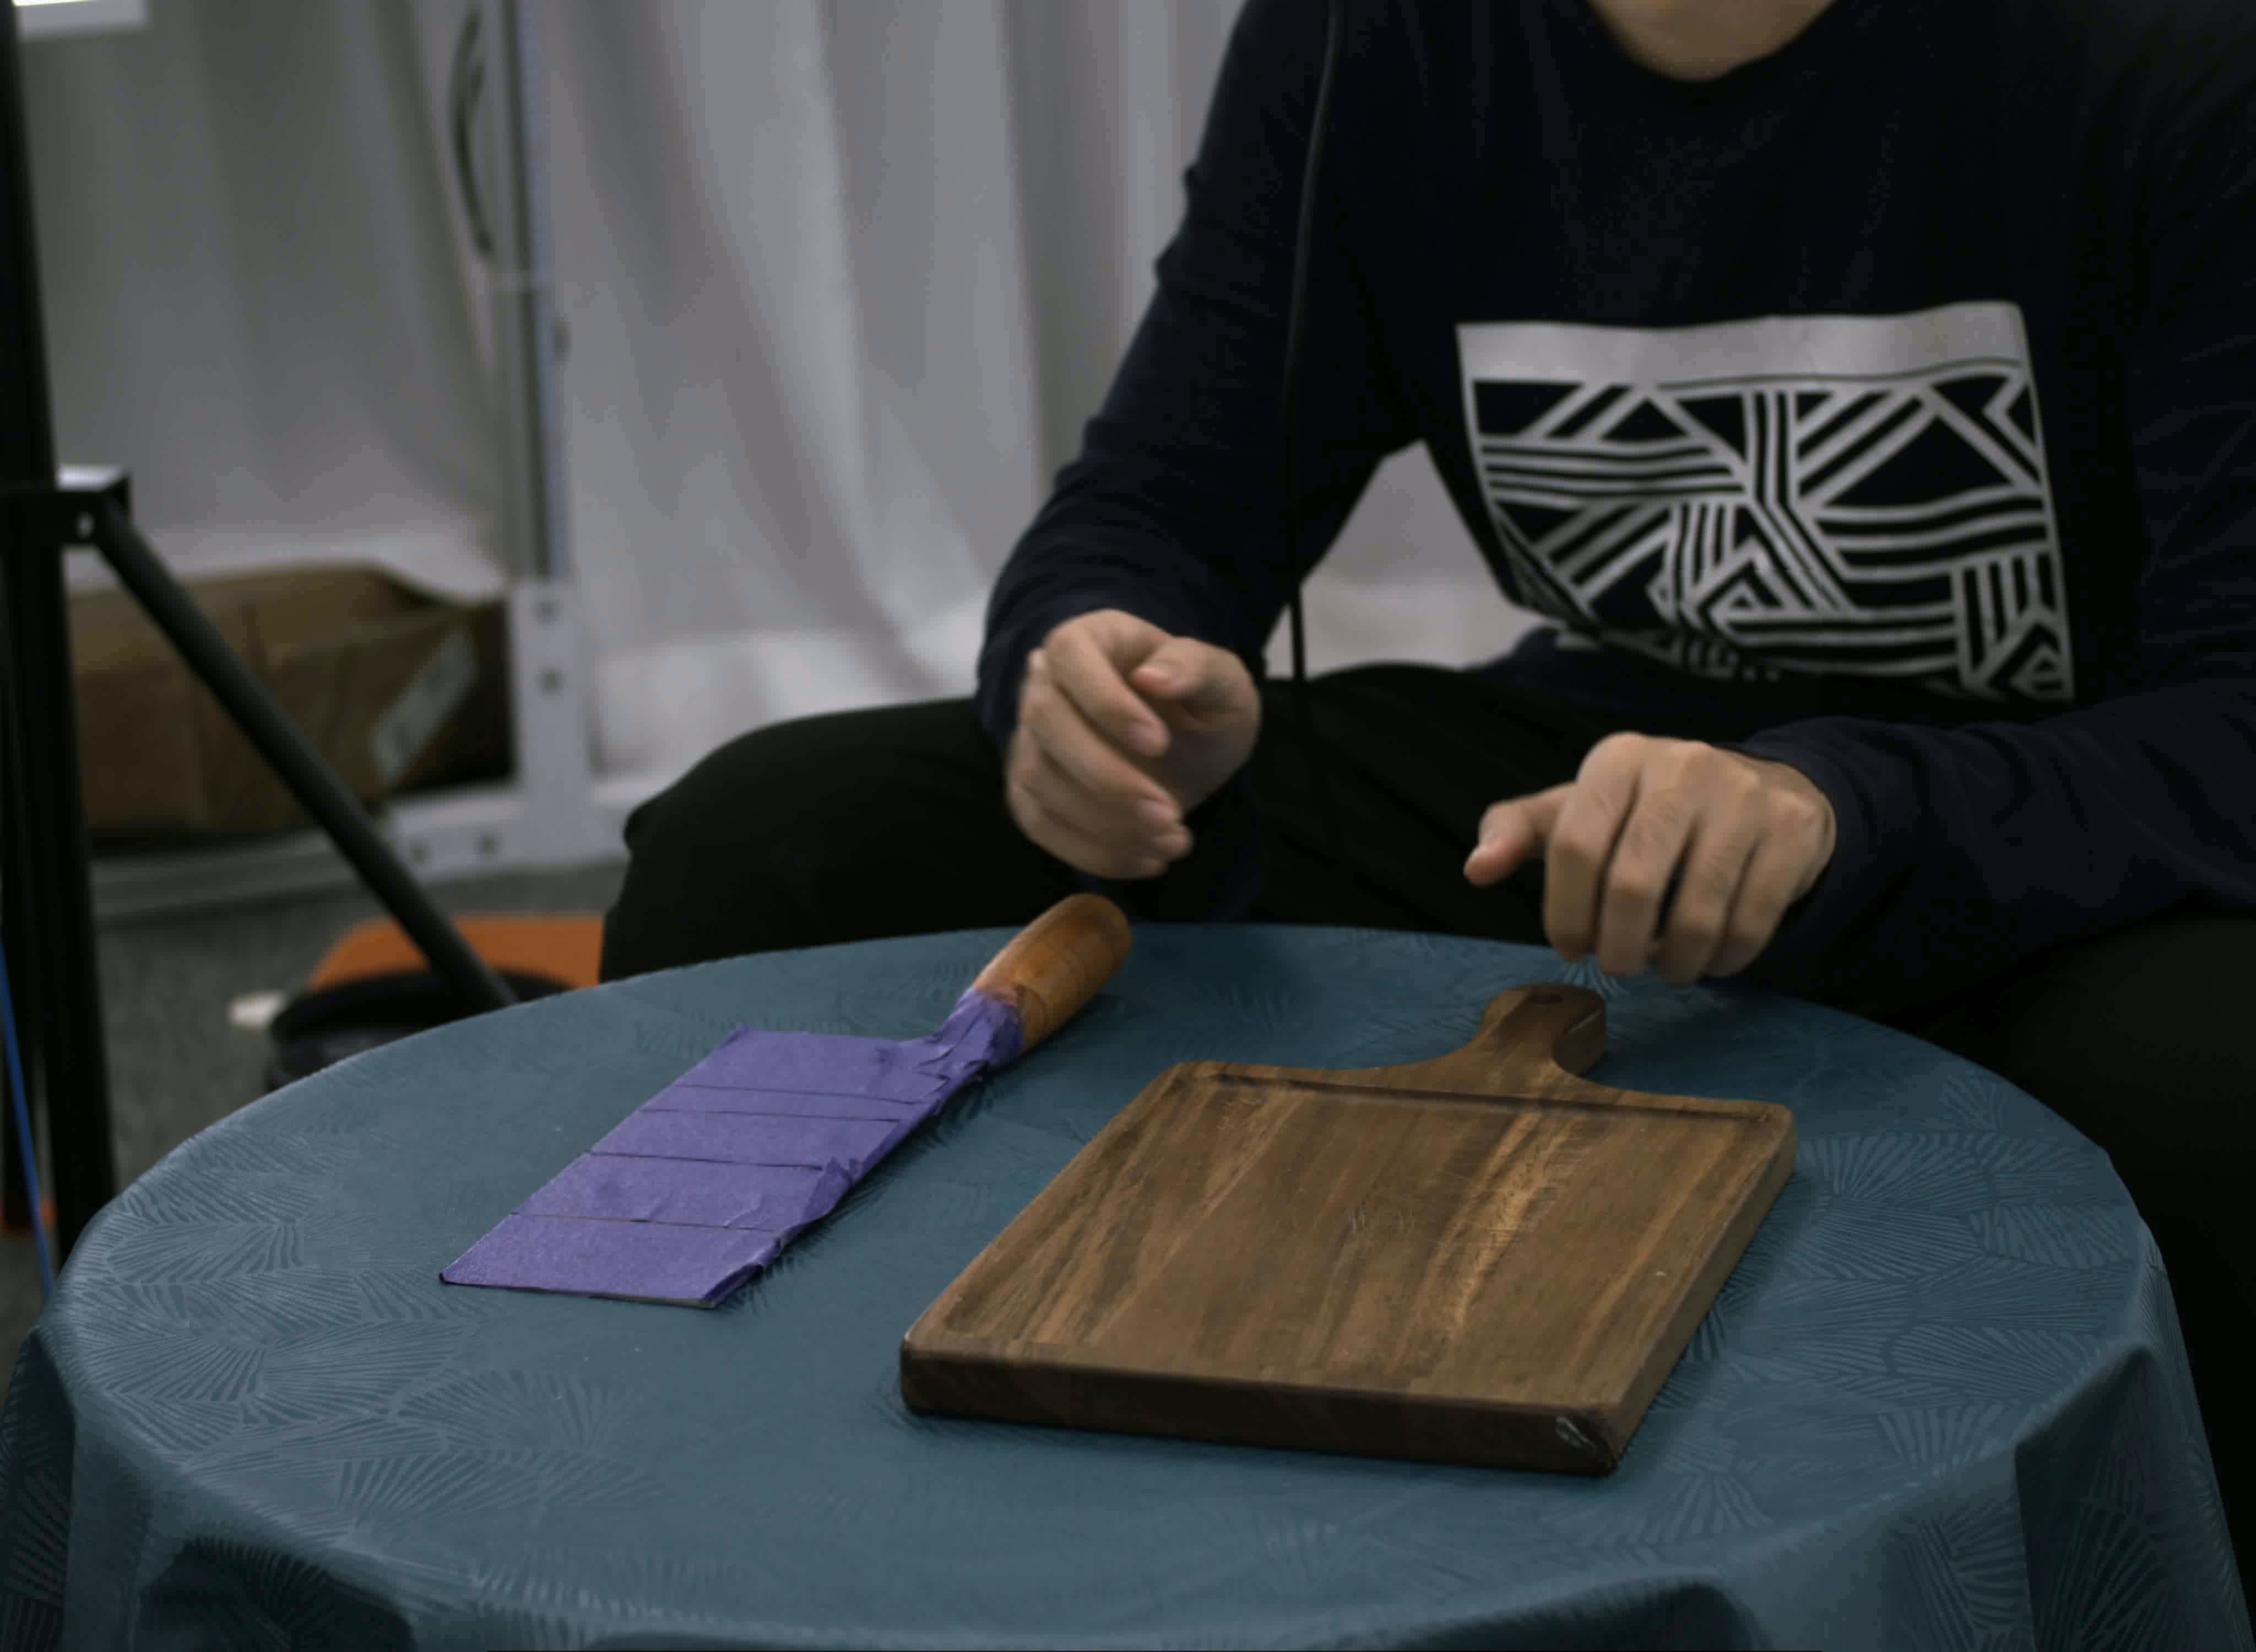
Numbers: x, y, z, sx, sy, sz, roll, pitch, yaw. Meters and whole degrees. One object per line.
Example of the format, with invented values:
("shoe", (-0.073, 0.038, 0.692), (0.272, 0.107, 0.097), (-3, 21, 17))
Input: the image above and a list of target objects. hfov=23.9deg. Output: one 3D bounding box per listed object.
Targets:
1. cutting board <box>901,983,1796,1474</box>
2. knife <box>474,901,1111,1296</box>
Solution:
("cutting board", (0.083, 0.105, 1.521), (0.203, 0.023, 0.348), (3, 16, 19))
("knife", (-0.099, 0.079, 1.630), (0.105, 0.032, 0.311), (4, 17, 21))
